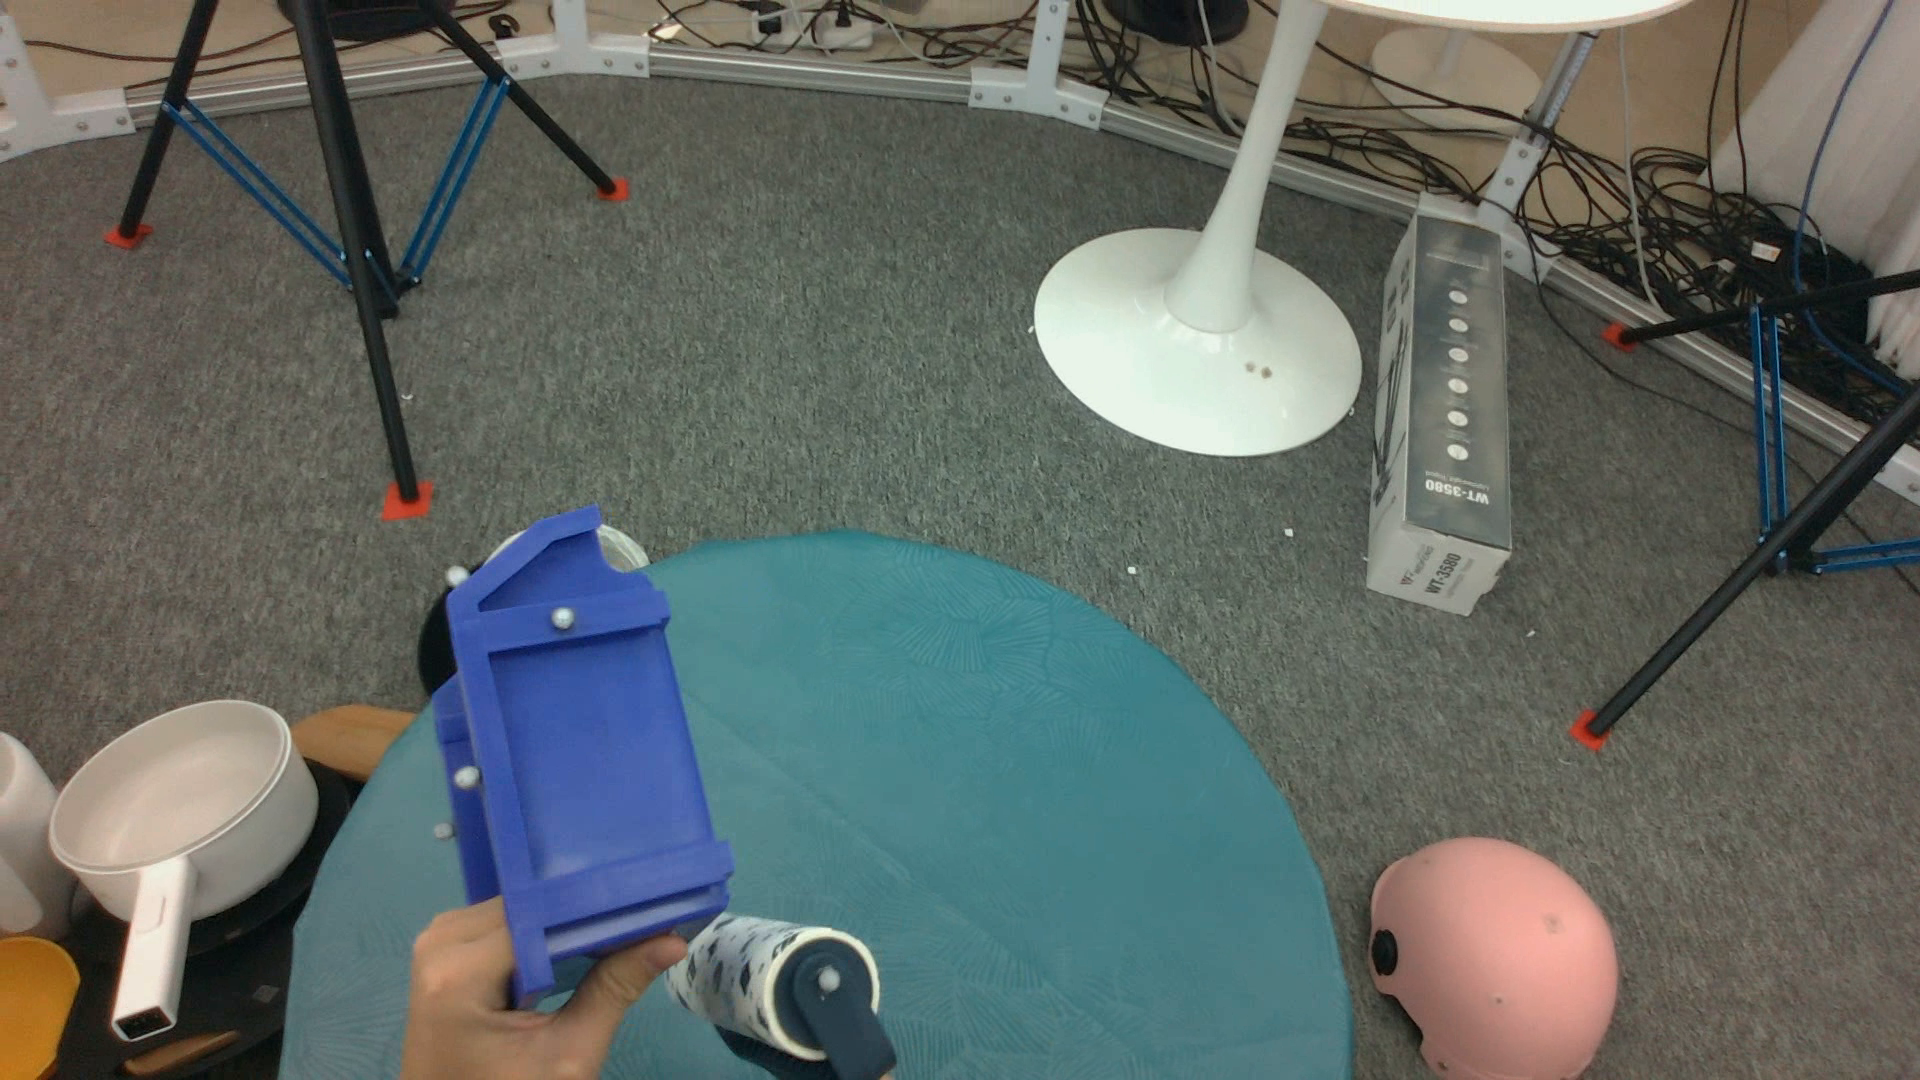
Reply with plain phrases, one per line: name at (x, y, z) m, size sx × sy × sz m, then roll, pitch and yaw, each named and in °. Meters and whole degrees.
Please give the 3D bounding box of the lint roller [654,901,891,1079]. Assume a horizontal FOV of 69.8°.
lint roller at (-0.039, 0.267, 0.603) m, size 0.050 × 0.175 × 0.247 m, roll -34°, pitch 96°, yaw -29°

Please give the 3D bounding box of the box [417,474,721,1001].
box at (-0.169, 0.082, 0.570) m, size 0.082 × 0.124 × 0.180 m, roll -11°, pitch 70°, yaw -28°
